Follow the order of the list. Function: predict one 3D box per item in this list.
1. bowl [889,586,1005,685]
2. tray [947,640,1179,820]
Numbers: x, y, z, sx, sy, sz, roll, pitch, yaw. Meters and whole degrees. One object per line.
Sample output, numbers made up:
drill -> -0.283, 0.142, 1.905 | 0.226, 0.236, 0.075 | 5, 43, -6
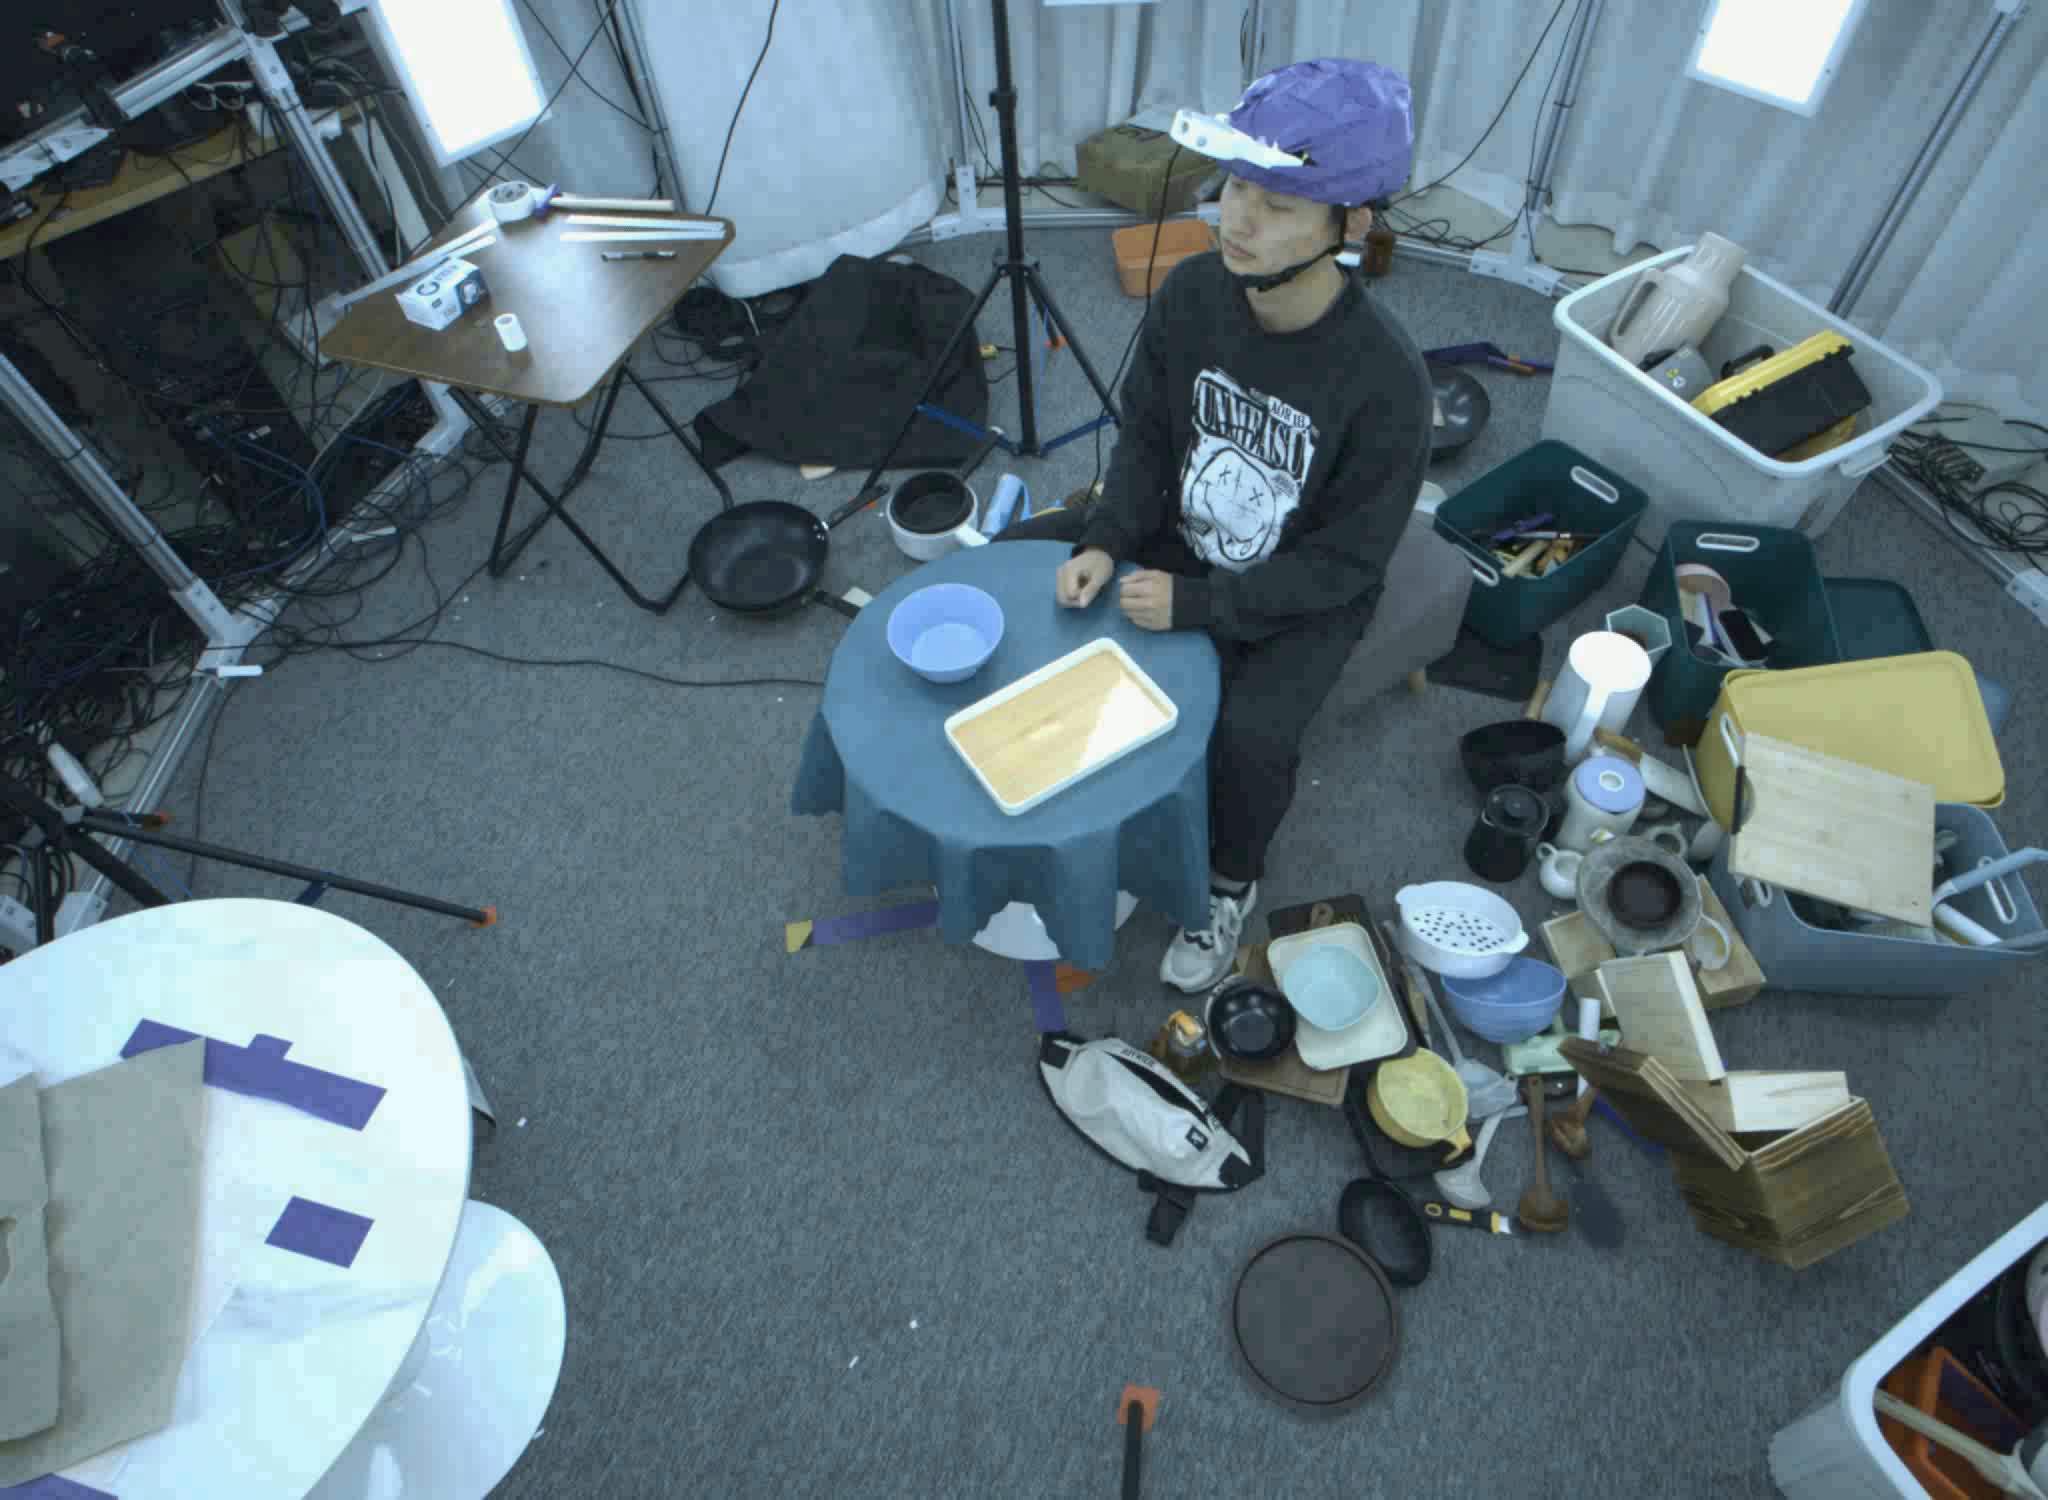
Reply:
bowl -> -0.115, -0.165, 1.873 | 0.176, 0.071, 0.174 | 0, 56, 2
tray -> 0.057, -0.034, 1.804 | 0.302, 0.028, 0.188 | -29, 60, -17
